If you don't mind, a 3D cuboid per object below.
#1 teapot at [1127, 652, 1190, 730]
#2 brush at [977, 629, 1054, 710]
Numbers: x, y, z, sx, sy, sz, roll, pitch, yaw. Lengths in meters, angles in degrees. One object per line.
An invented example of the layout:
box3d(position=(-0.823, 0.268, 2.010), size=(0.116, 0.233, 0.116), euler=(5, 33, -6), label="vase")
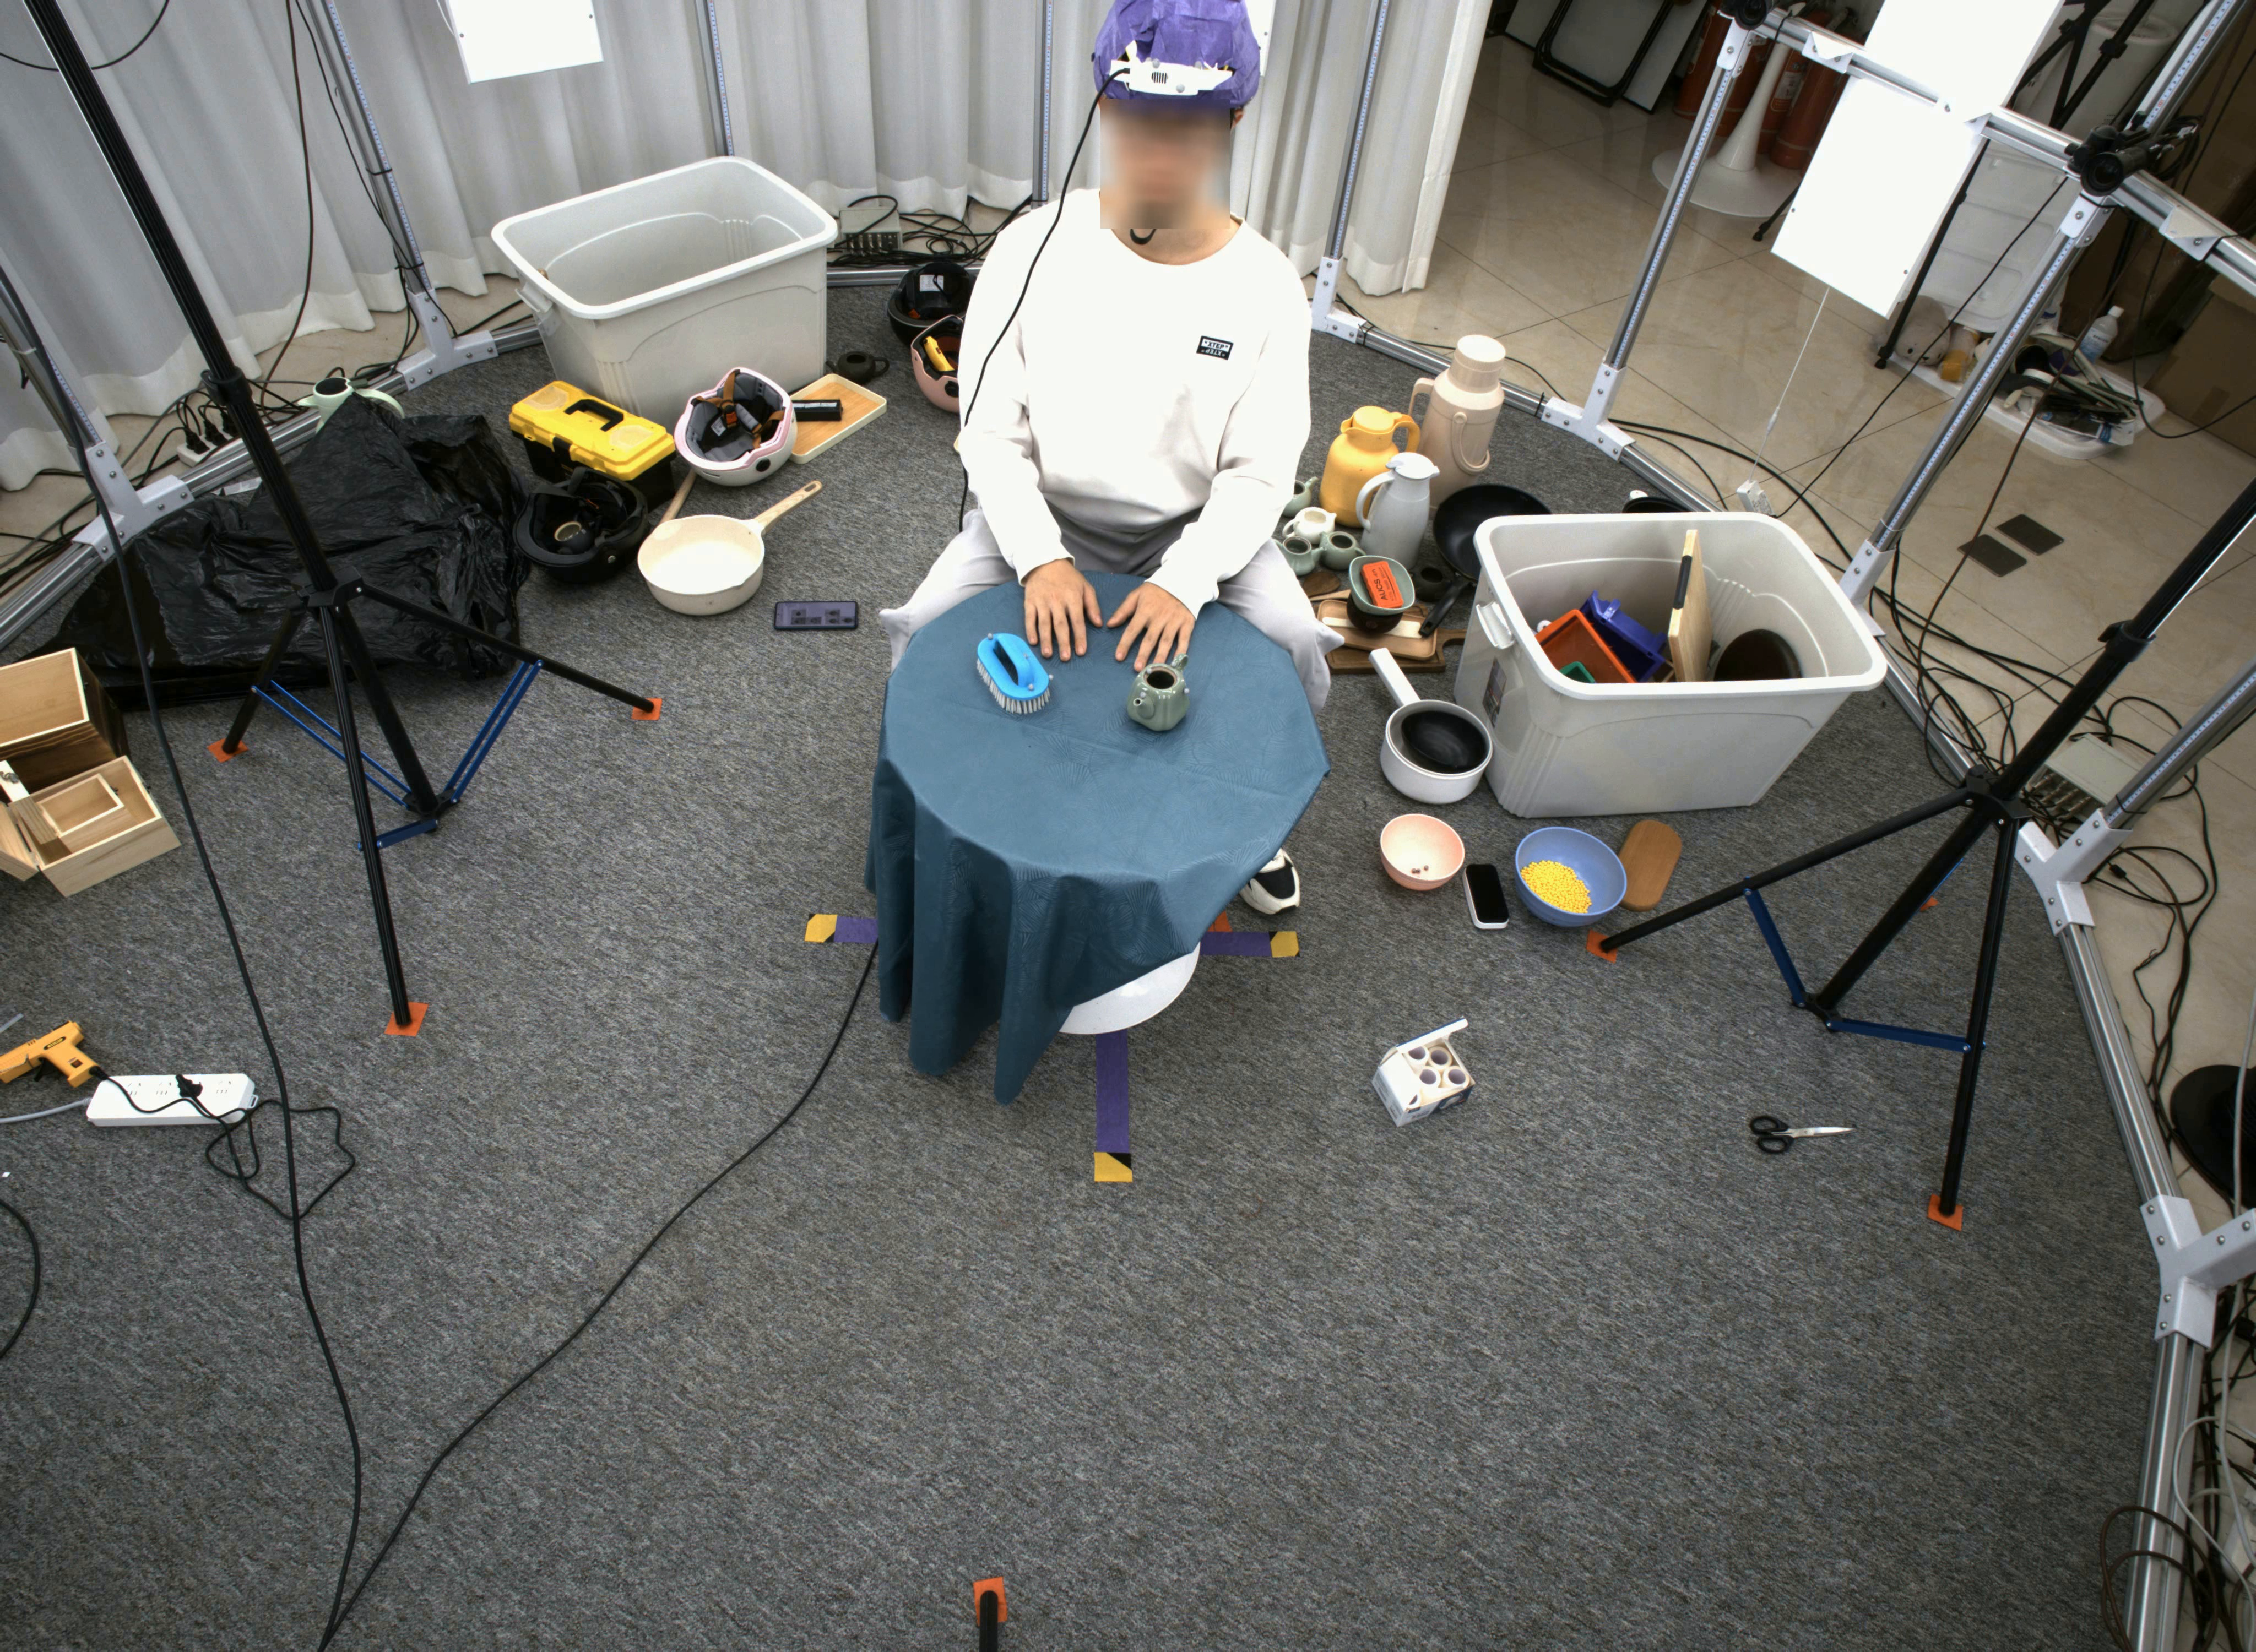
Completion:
box3d(position=(0.044, -0.184, 1.780), size=(0.080, 0.073, 0.134), euler=(29, 53, 19), label="teapot")
box3d(position=(-0.161, -0.230, 1.810), size=(0.084, 0.062, 0.145), euler=(-21, 53, -15), label="brush")
